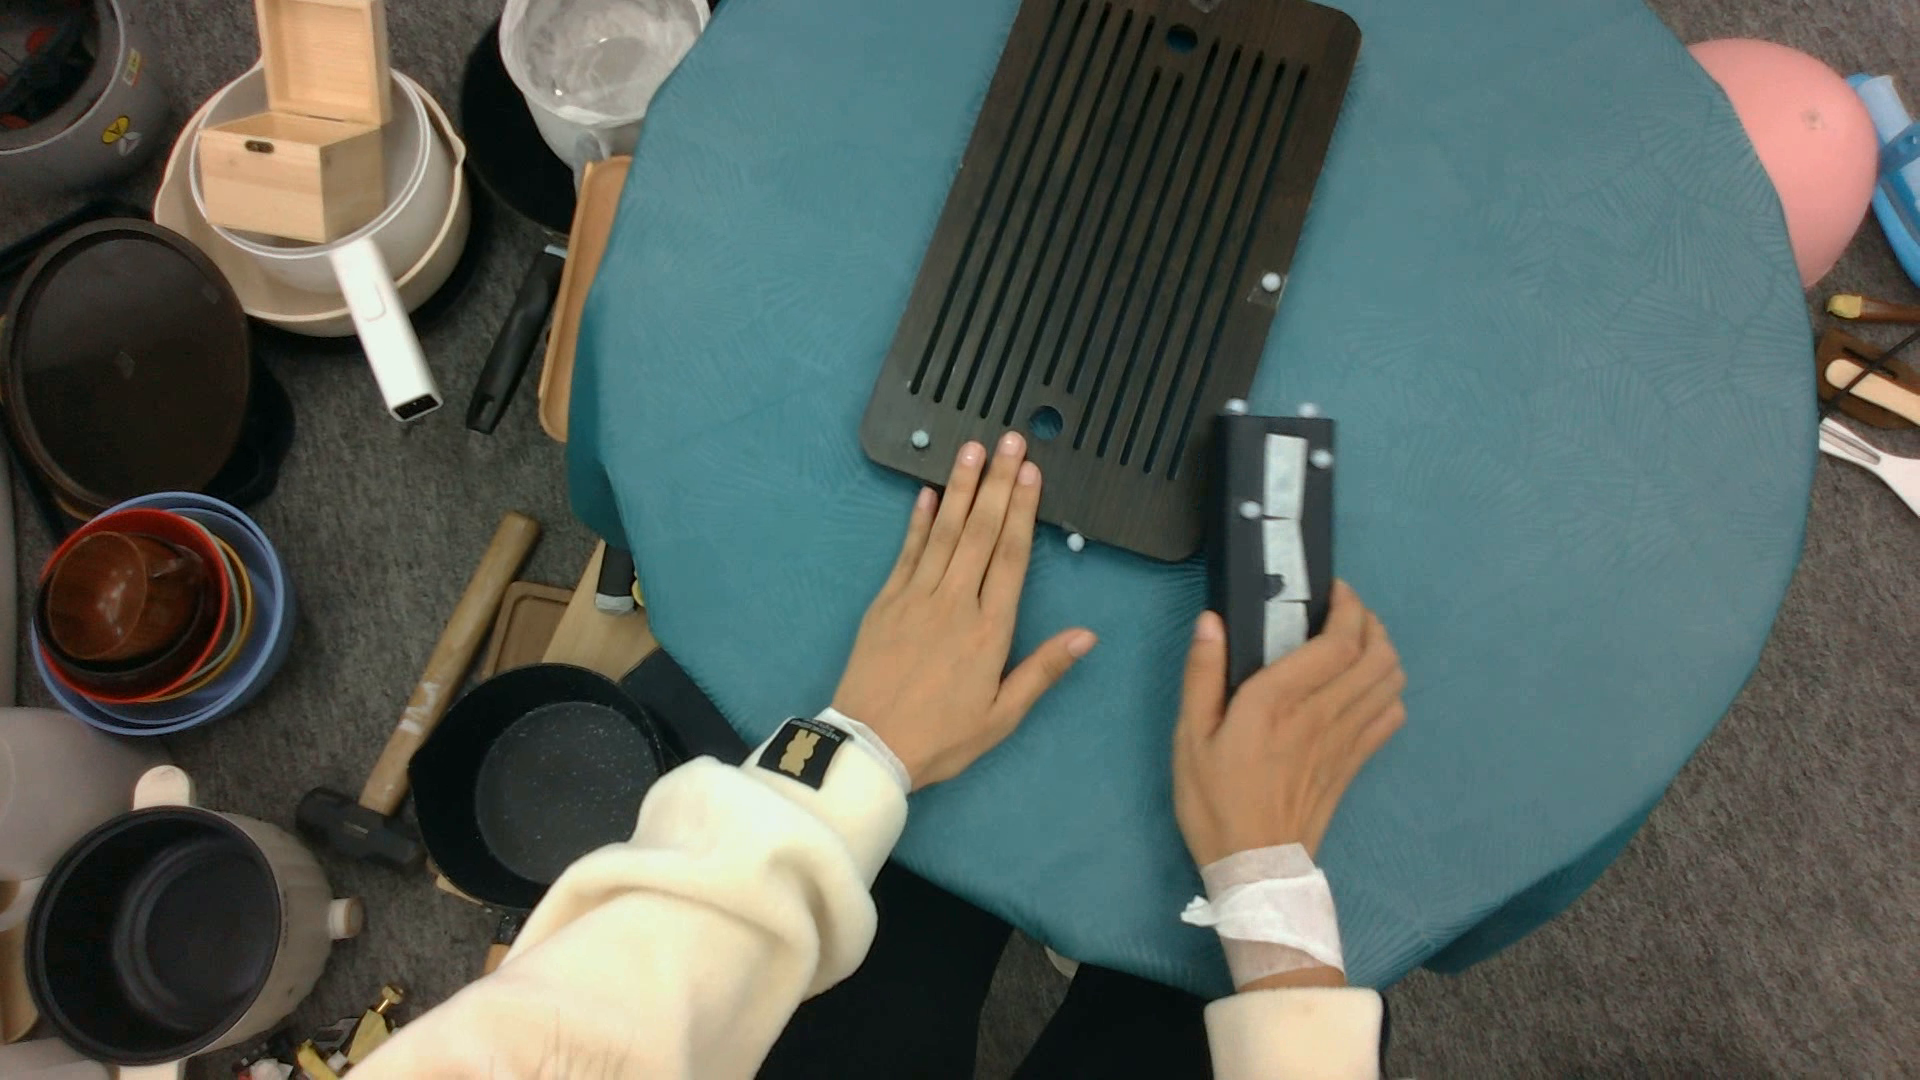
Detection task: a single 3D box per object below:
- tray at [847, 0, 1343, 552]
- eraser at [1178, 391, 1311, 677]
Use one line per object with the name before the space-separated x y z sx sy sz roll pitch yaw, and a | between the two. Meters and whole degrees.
tray | 0.071 -0.156 0.677 0.170 0.018 0.306 18 76 2
eraser | 0.126 -0.003 0.616 0.053 0.030 0.125 -1 88 -10
